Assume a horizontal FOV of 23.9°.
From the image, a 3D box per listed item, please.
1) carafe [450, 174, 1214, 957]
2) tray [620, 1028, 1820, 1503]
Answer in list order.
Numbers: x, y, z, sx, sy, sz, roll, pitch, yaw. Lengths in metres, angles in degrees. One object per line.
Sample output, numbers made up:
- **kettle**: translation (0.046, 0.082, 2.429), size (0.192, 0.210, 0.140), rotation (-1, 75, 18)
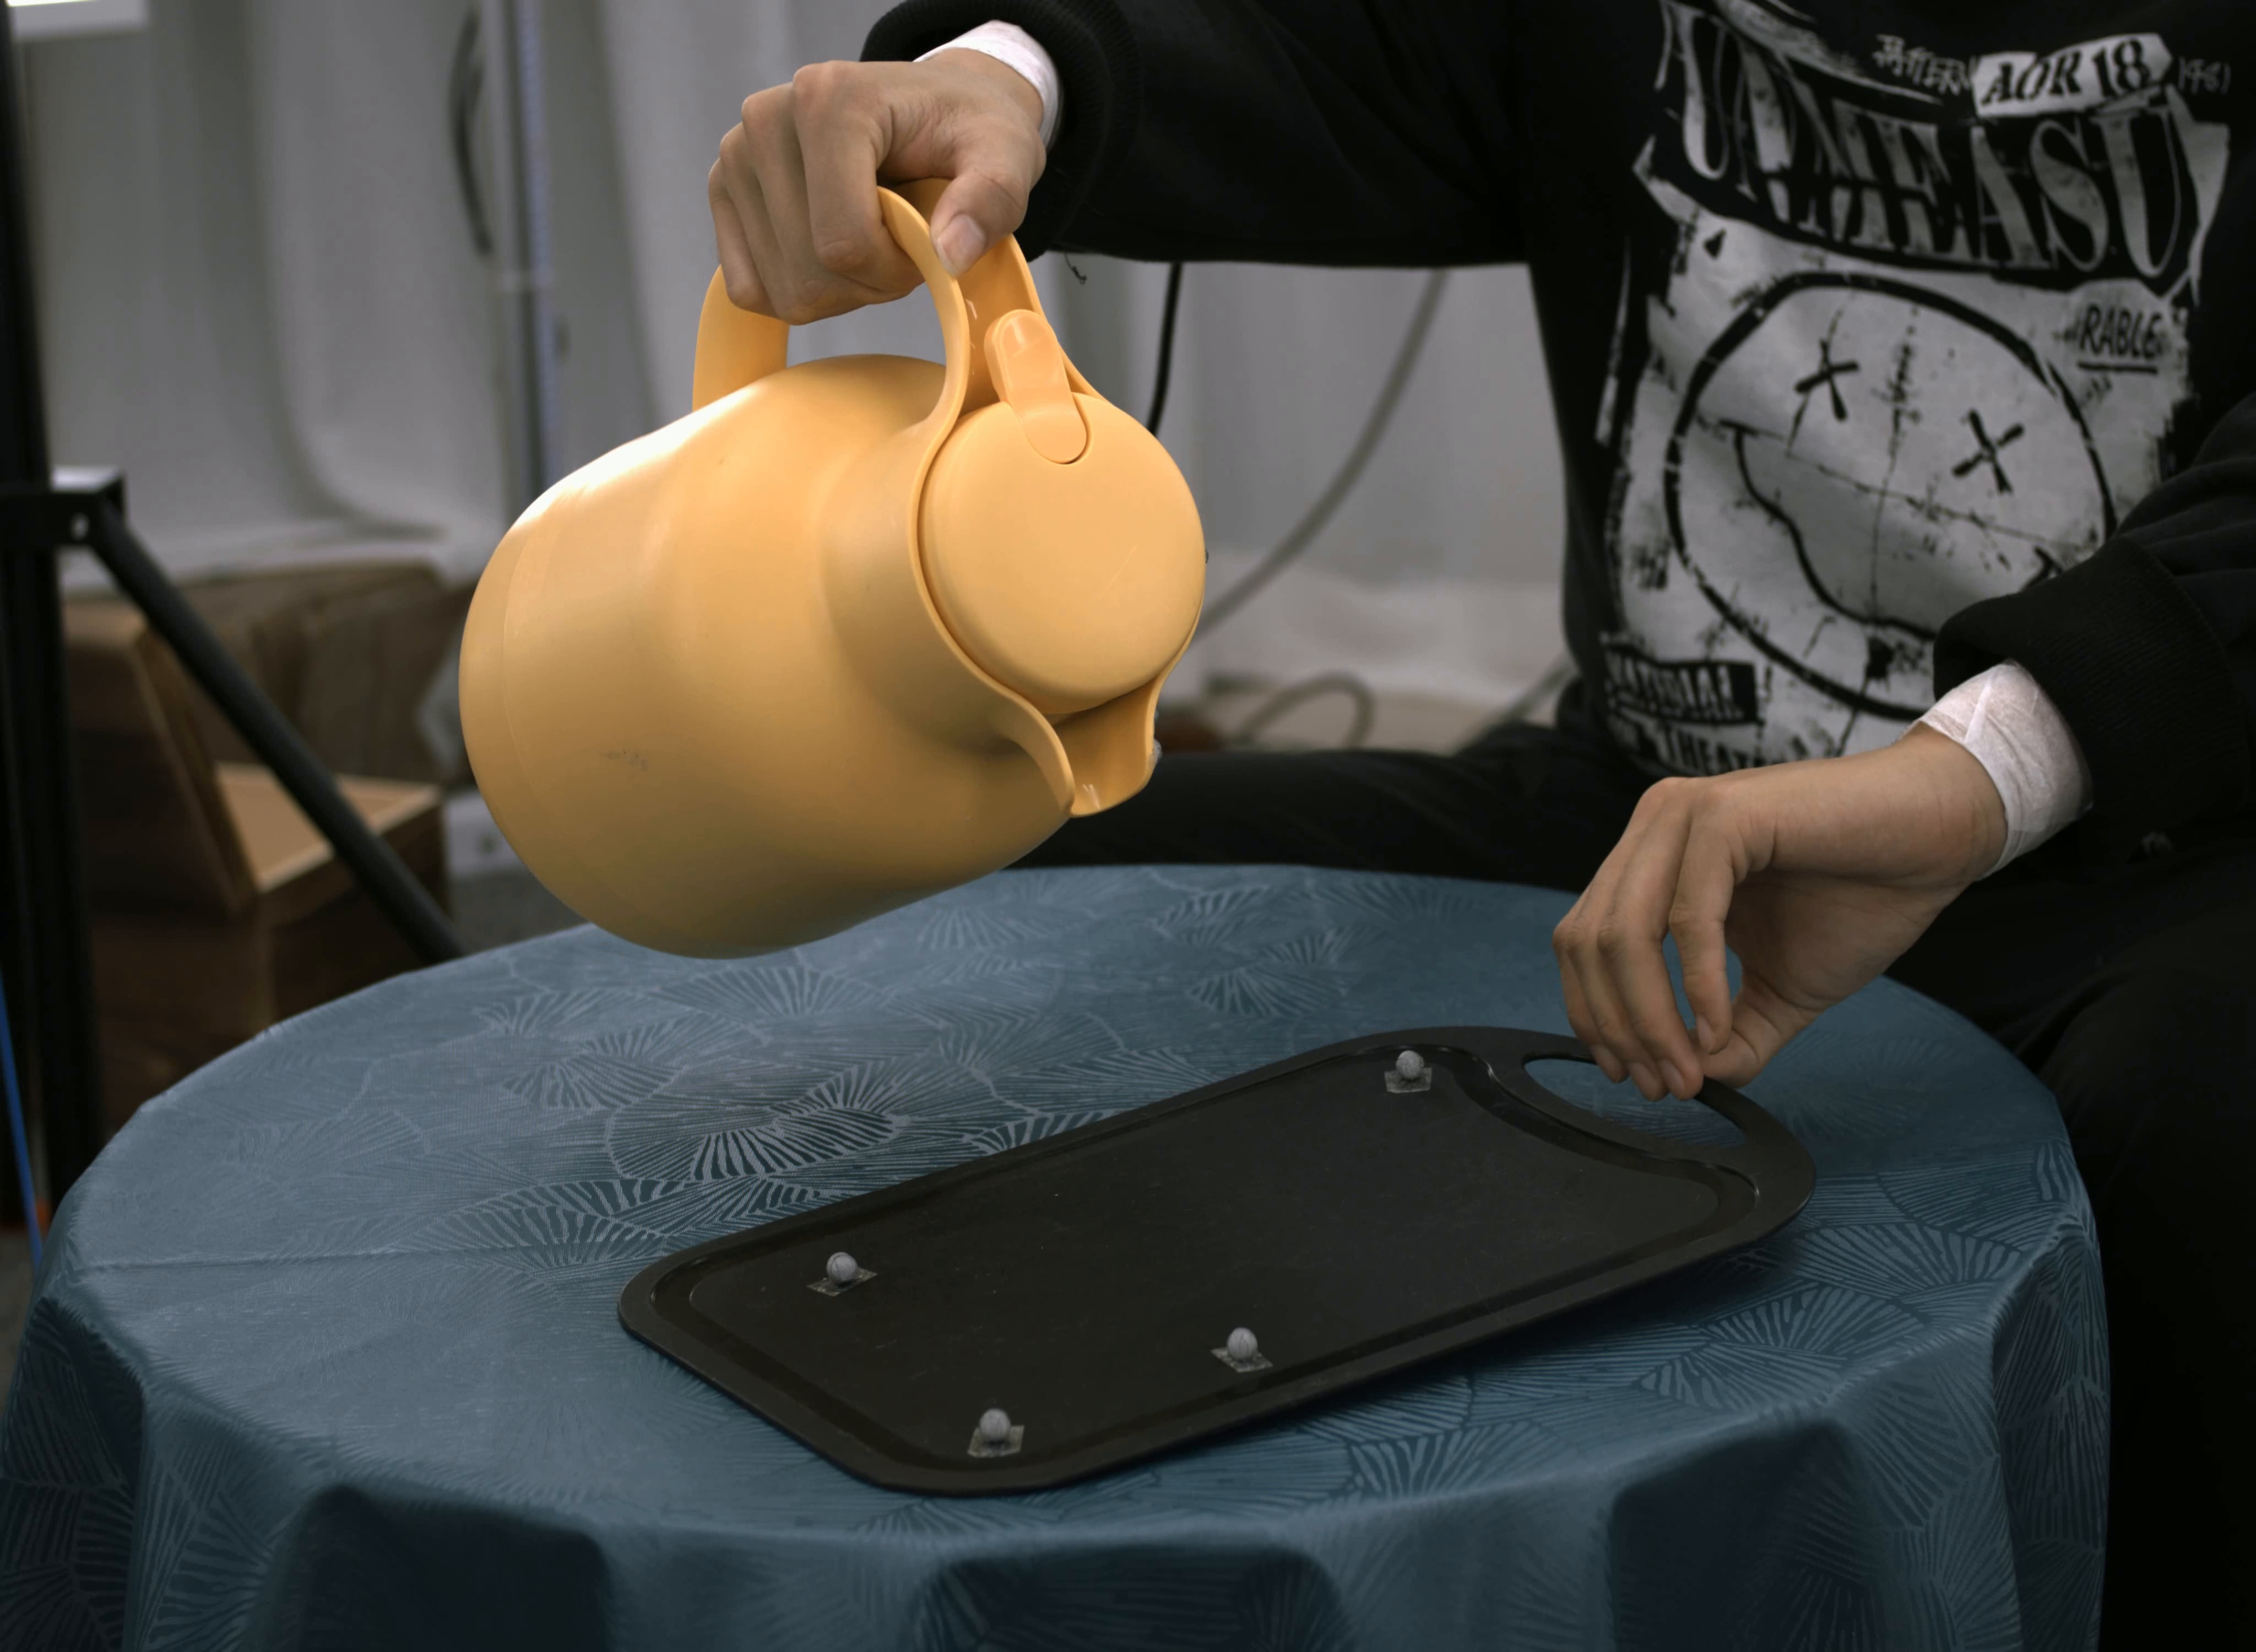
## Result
- **carafe**: translation (-0.082, -0.076, 1.570), size (0.159, 0.204, 0.265), rotation (-6, -7, -36)
- **tray**: translation (0.032, 0.113, 1.482), size (0.319, 0.010, 0.216), rotation (-16, 21, -27)
